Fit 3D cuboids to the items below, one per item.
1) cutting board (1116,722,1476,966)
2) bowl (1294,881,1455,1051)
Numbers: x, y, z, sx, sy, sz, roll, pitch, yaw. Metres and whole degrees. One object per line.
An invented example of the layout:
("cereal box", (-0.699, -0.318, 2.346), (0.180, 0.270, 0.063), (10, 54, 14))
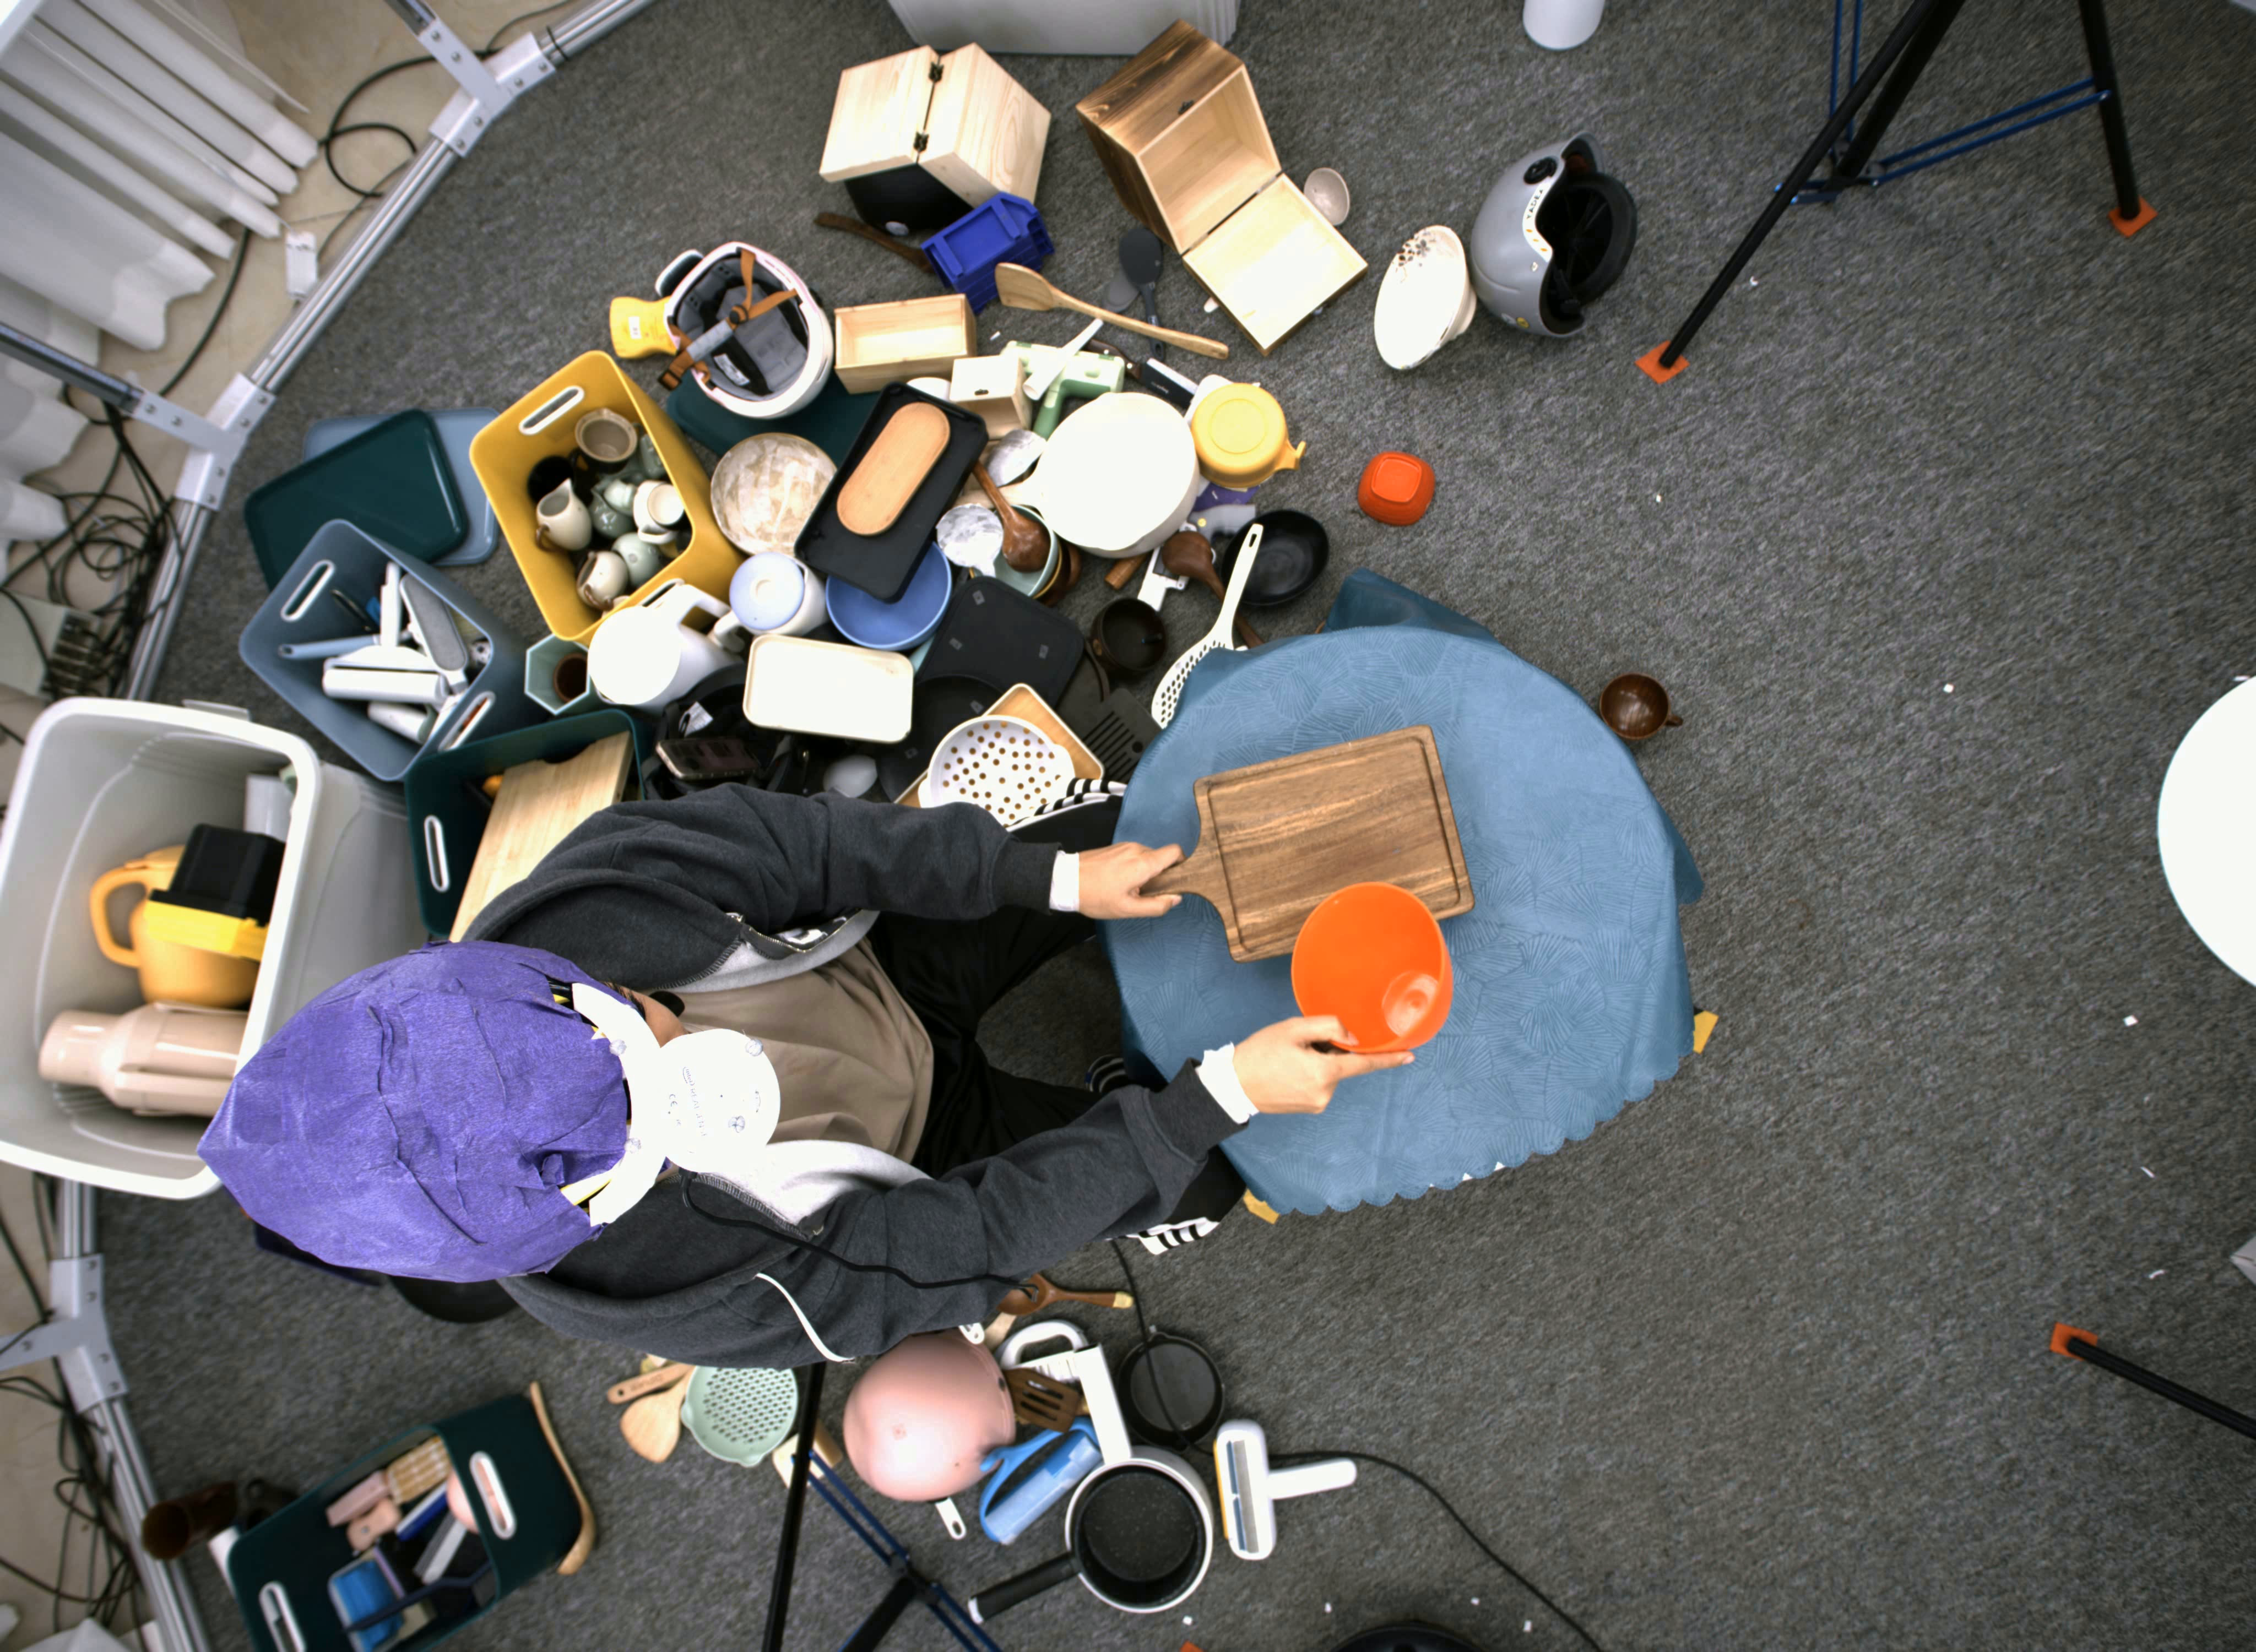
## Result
("cutting board", (0.158, 0.030, 1.407), (0.354, 0.023, 0.200), (-14, 86, 9))
("bowl", (0.234, 0.135, 1.237), (0.150, 0.105, 0.144), (-23, 53, 33))
